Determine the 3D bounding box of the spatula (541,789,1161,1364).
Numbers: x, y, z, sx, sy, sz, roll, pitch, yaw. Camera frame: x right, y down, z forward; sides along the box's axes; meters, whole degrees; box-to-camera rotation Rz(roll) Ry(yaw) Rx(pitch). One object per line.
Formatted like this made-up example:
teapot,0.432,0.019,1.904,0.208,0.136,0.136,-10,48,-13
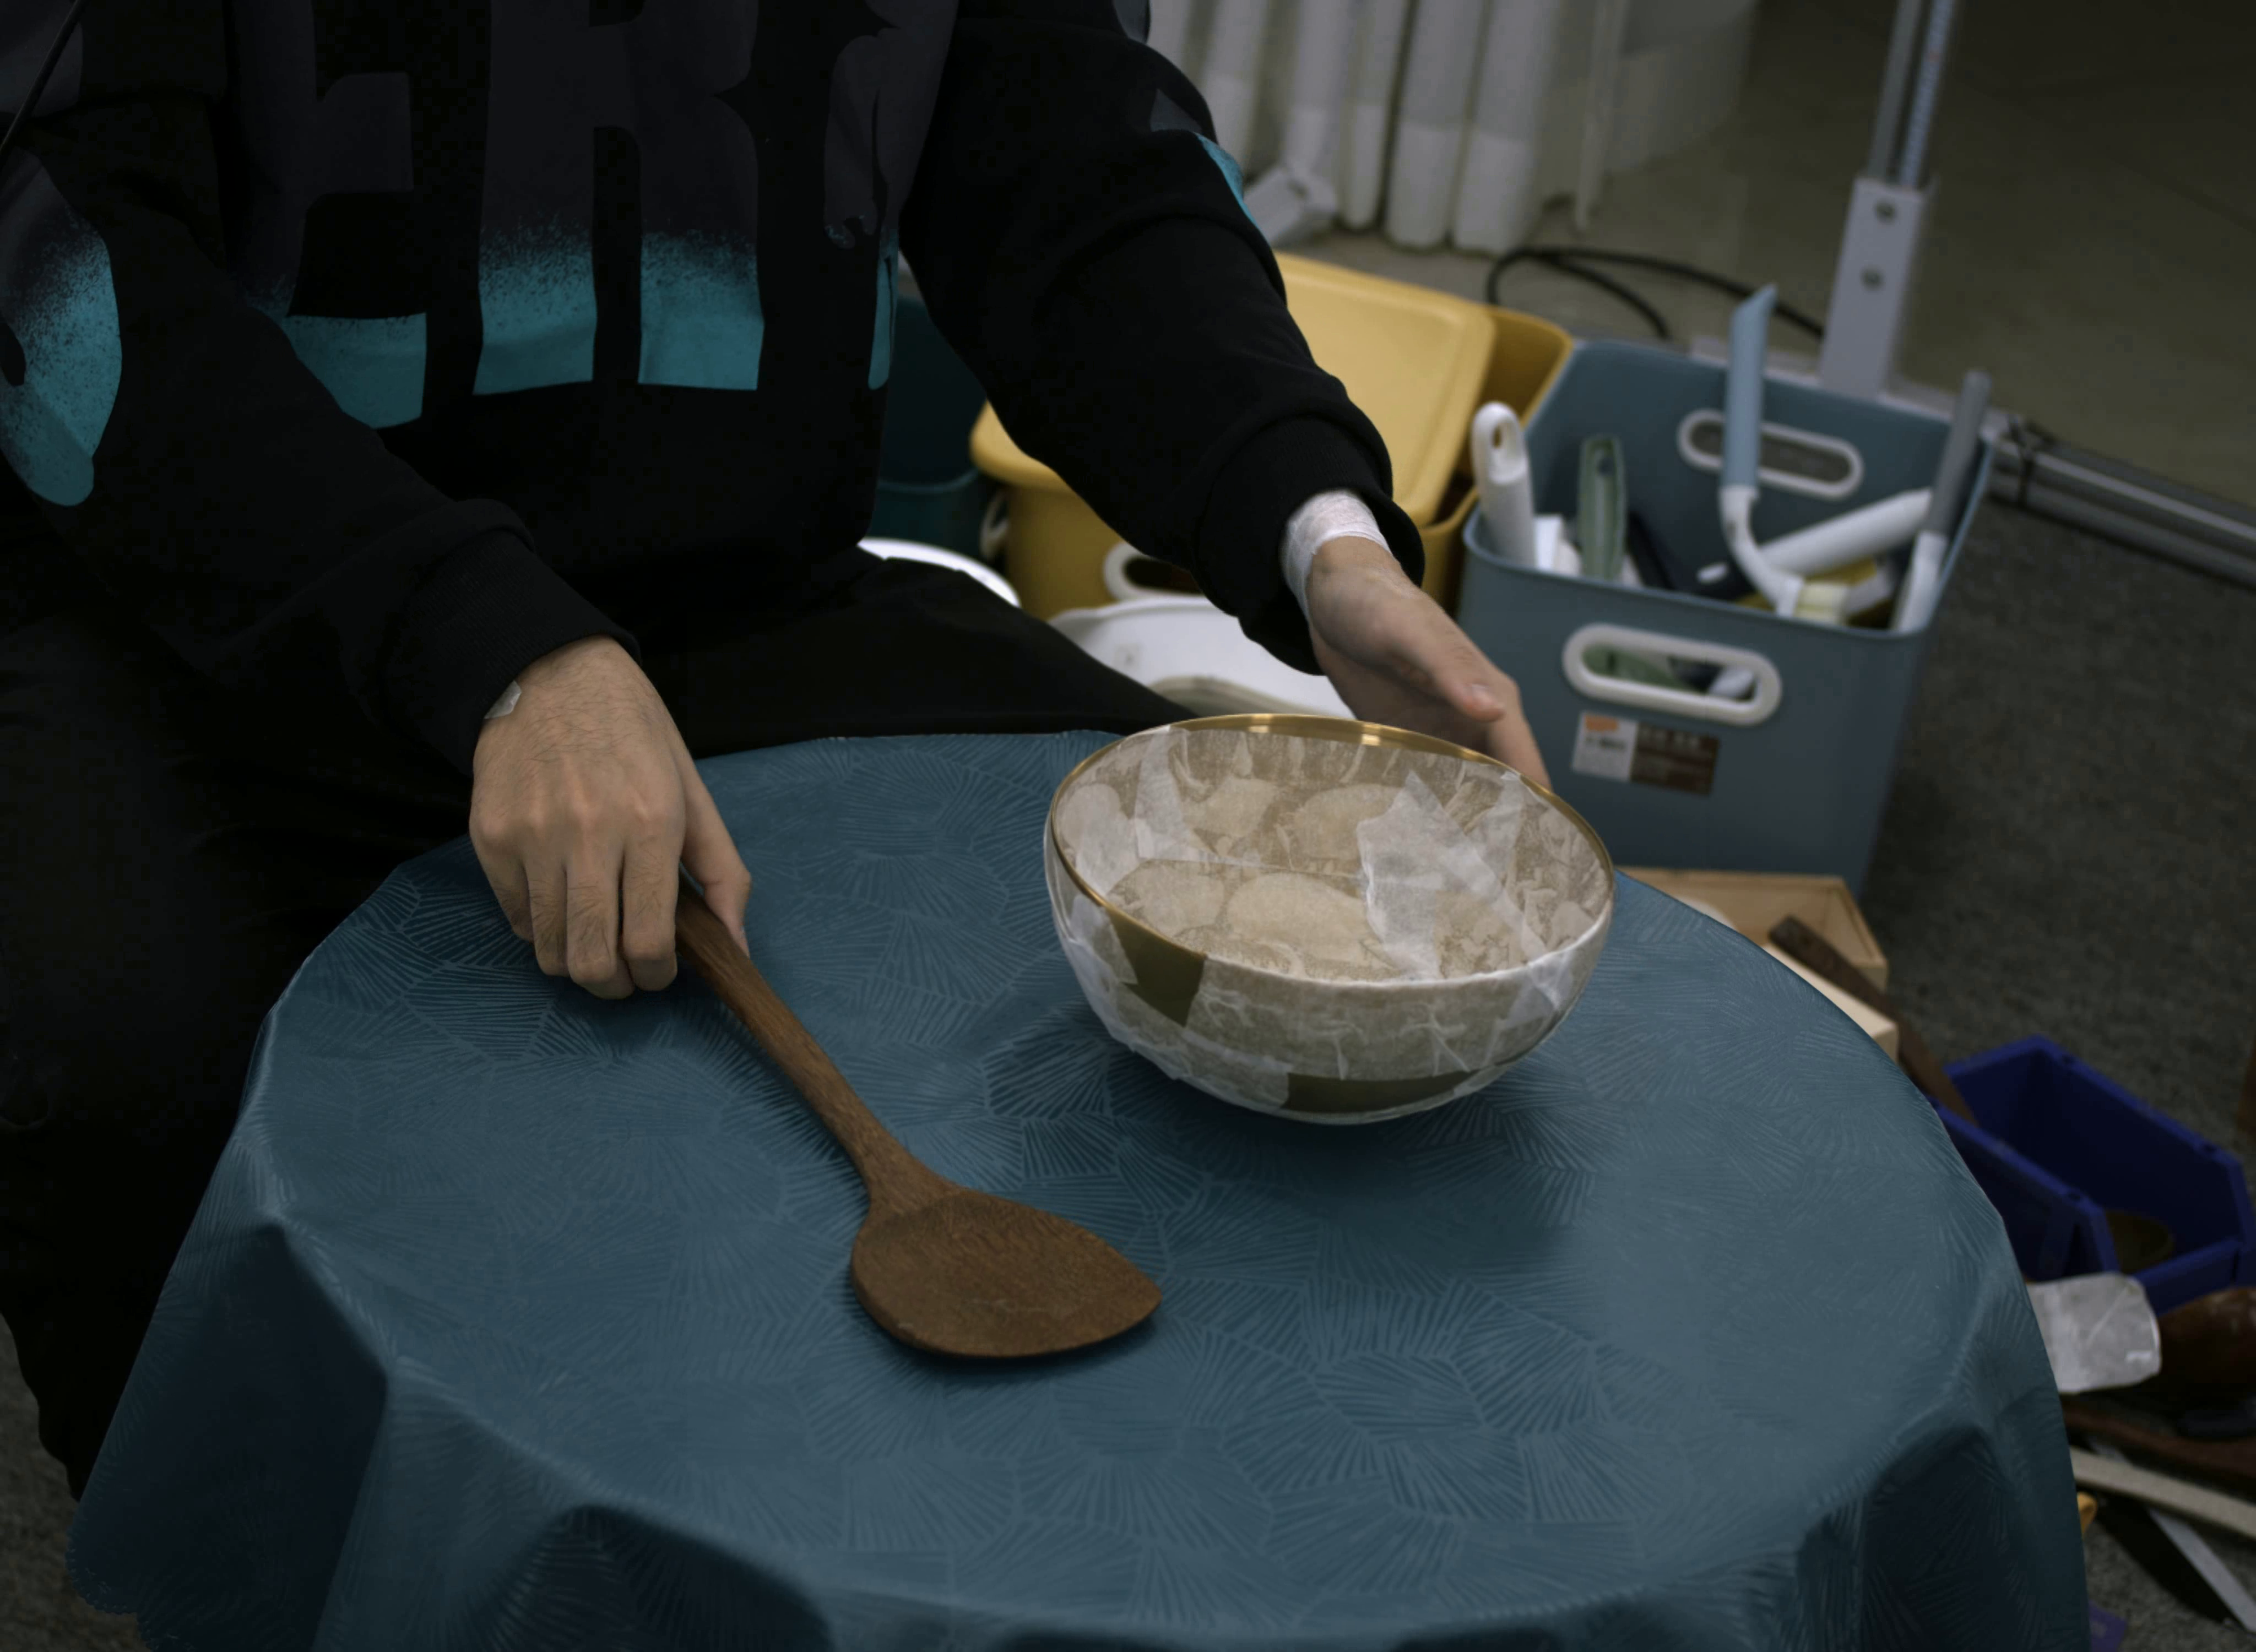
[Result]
spatula,-0.116,0.078,1.837,0.095,0.016,0.389,-8,33,-30

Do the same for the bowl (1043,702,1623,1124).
bowl,0.069,0.043,1.871,0.214,0.094,0.216,4,27,-2
